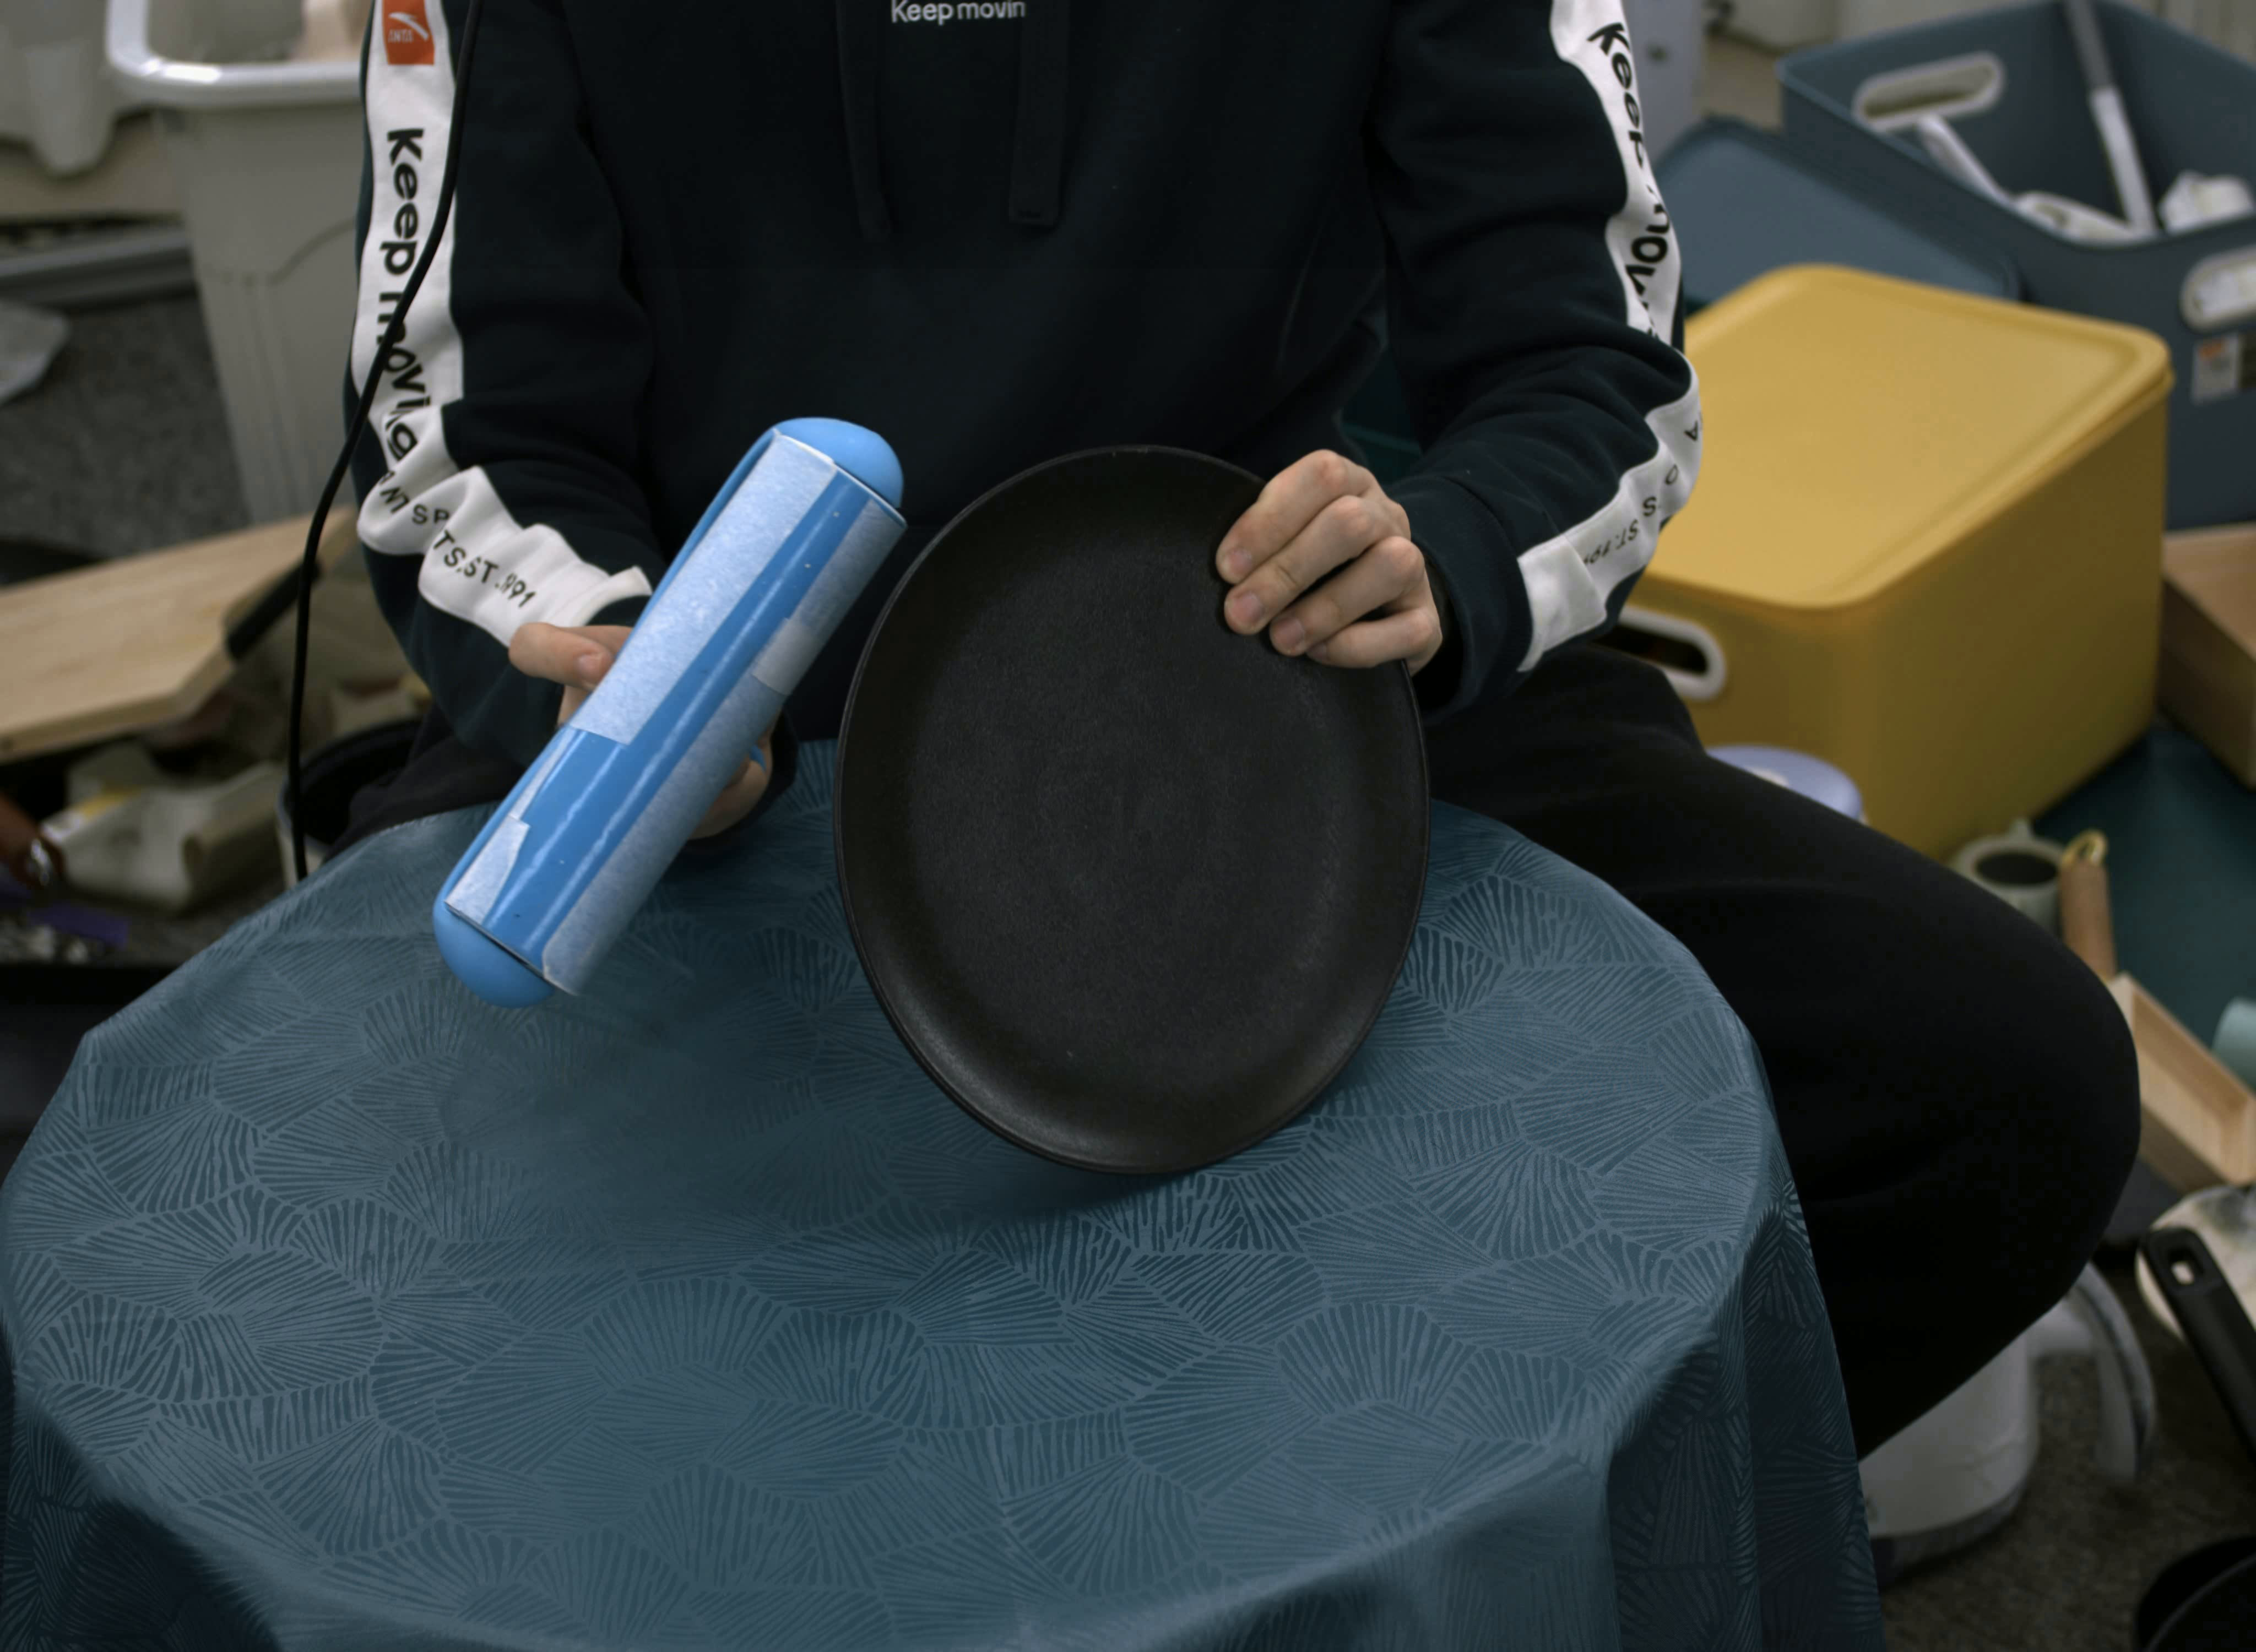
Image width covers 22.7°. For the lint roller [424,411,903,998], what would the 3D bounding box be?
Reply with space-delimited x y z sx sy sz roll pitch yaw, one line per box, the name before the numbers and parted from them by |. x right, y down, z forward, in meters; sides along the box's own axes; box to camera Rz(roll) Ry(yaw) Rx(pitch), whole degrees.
lint roller | -0.154 -0.032 1.915 0.068 0.231 0.179 34 -10 2

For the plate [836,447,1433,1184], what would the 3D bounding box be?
plate | 0.001 -0.003 1.867 0.247 0.244 0.023 -23 11 -35
